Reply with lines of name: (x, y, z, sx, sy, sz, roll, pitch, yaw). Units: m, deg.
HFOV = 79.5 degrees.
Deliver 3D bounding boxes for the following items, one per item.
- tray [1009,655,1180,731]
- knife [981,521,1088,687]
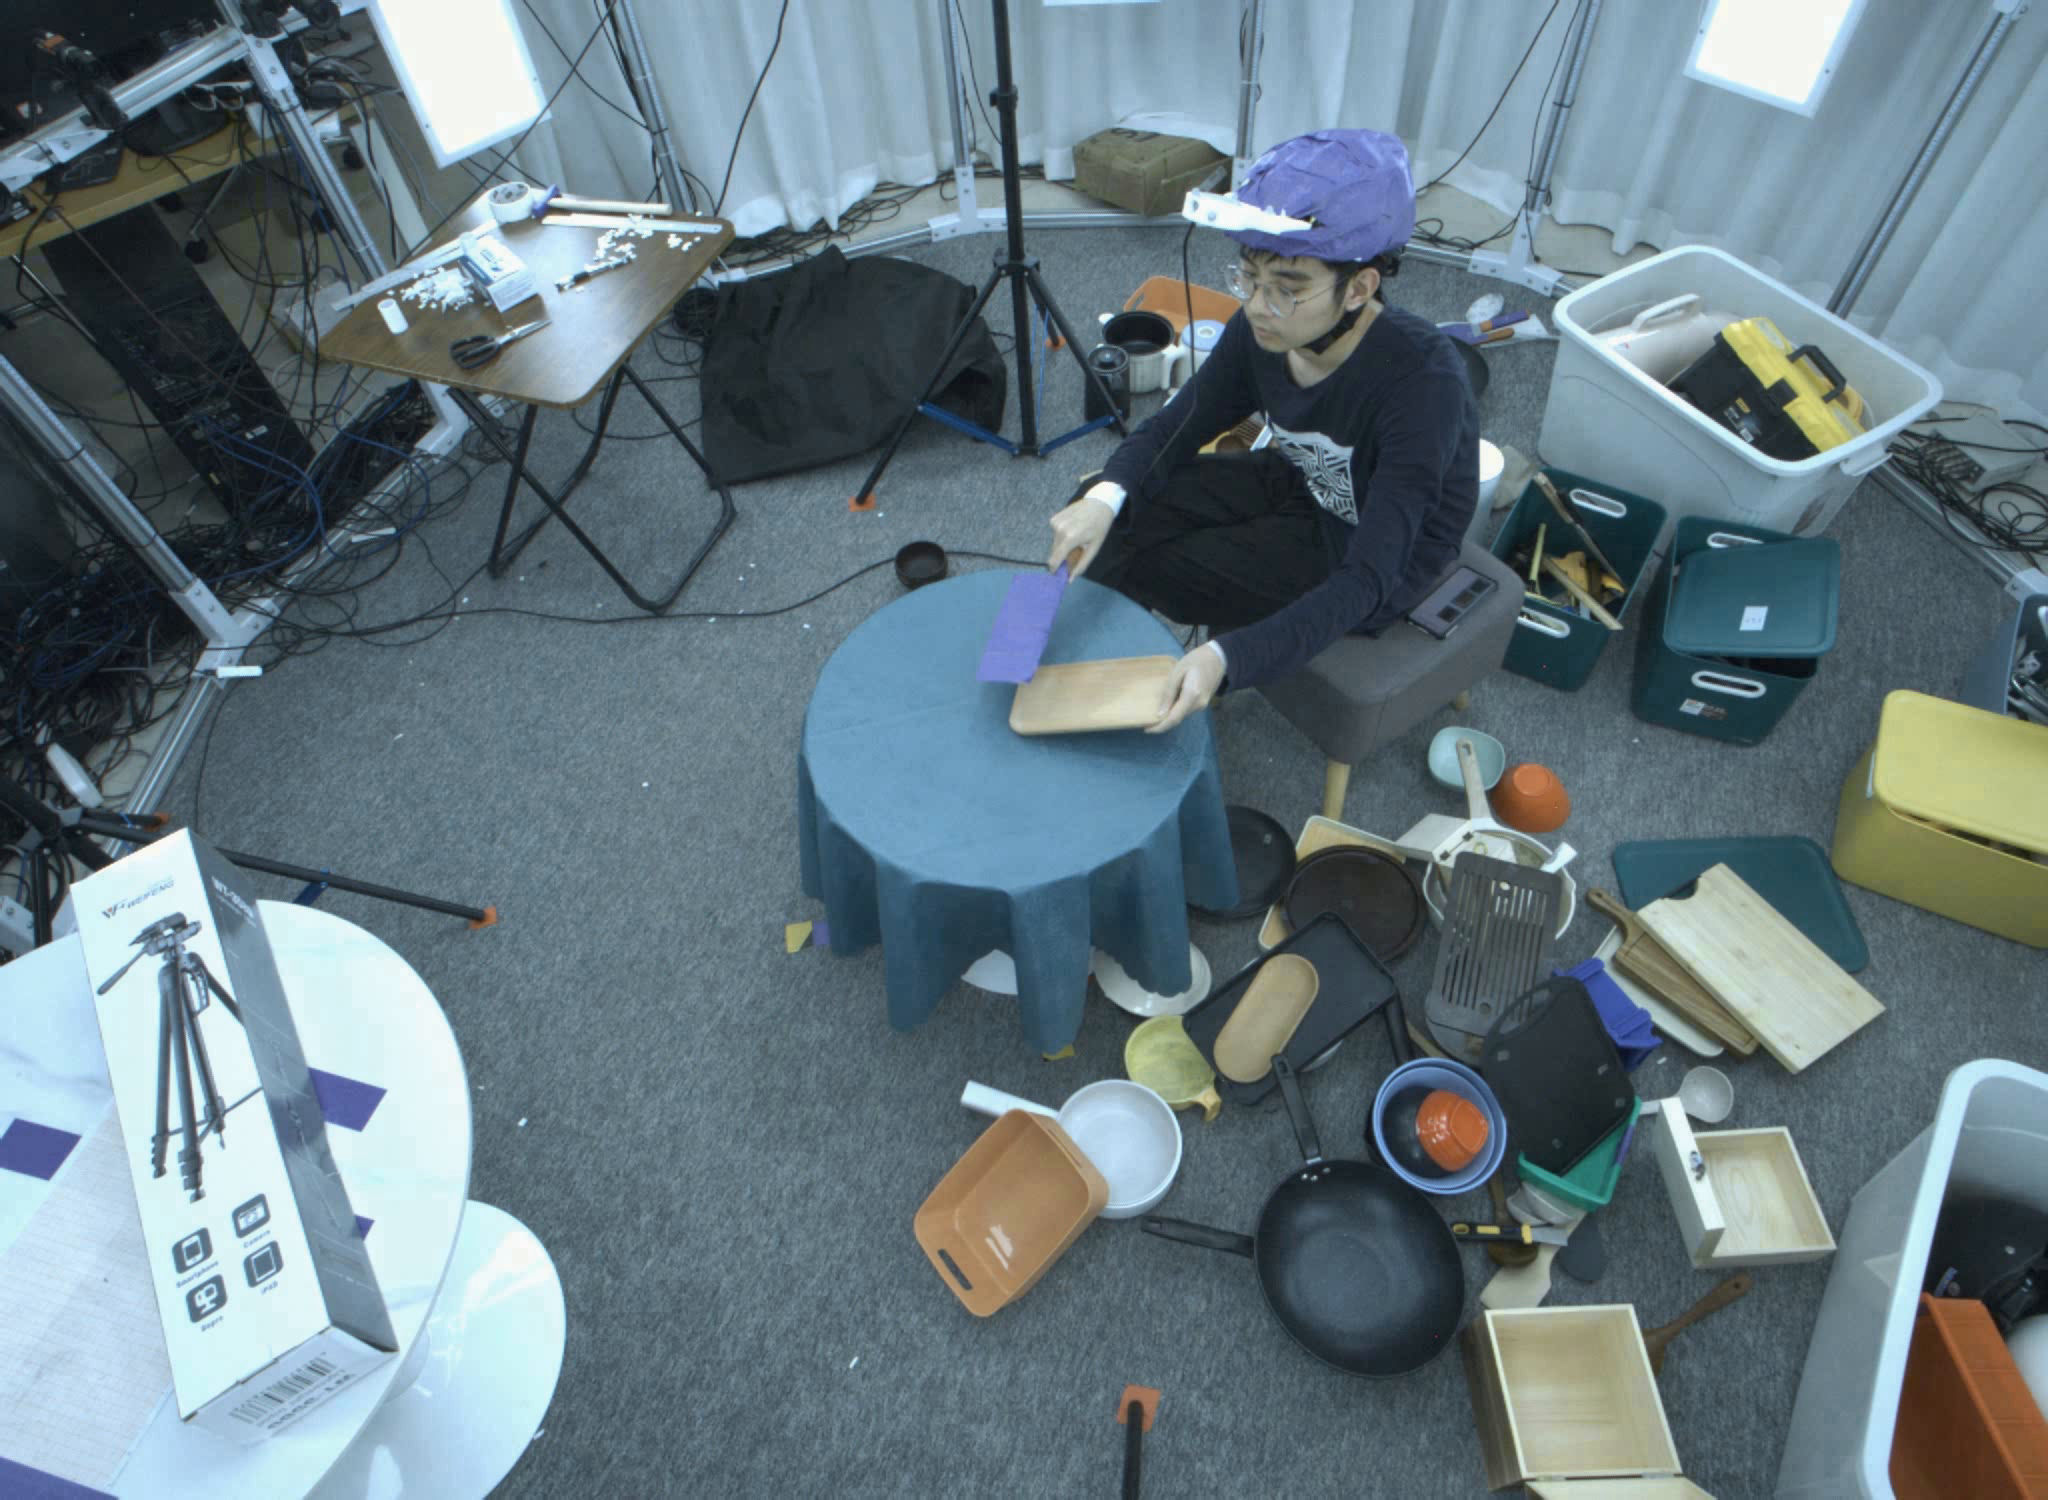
tray: (0.103, -0.082, 1.798, 0.247, 0.023, 0.130, -1, 50, 24)
knife: (0.014, -0.224, 1.840, 0.102, 0.033, 0.314, 8, 58, 19)
